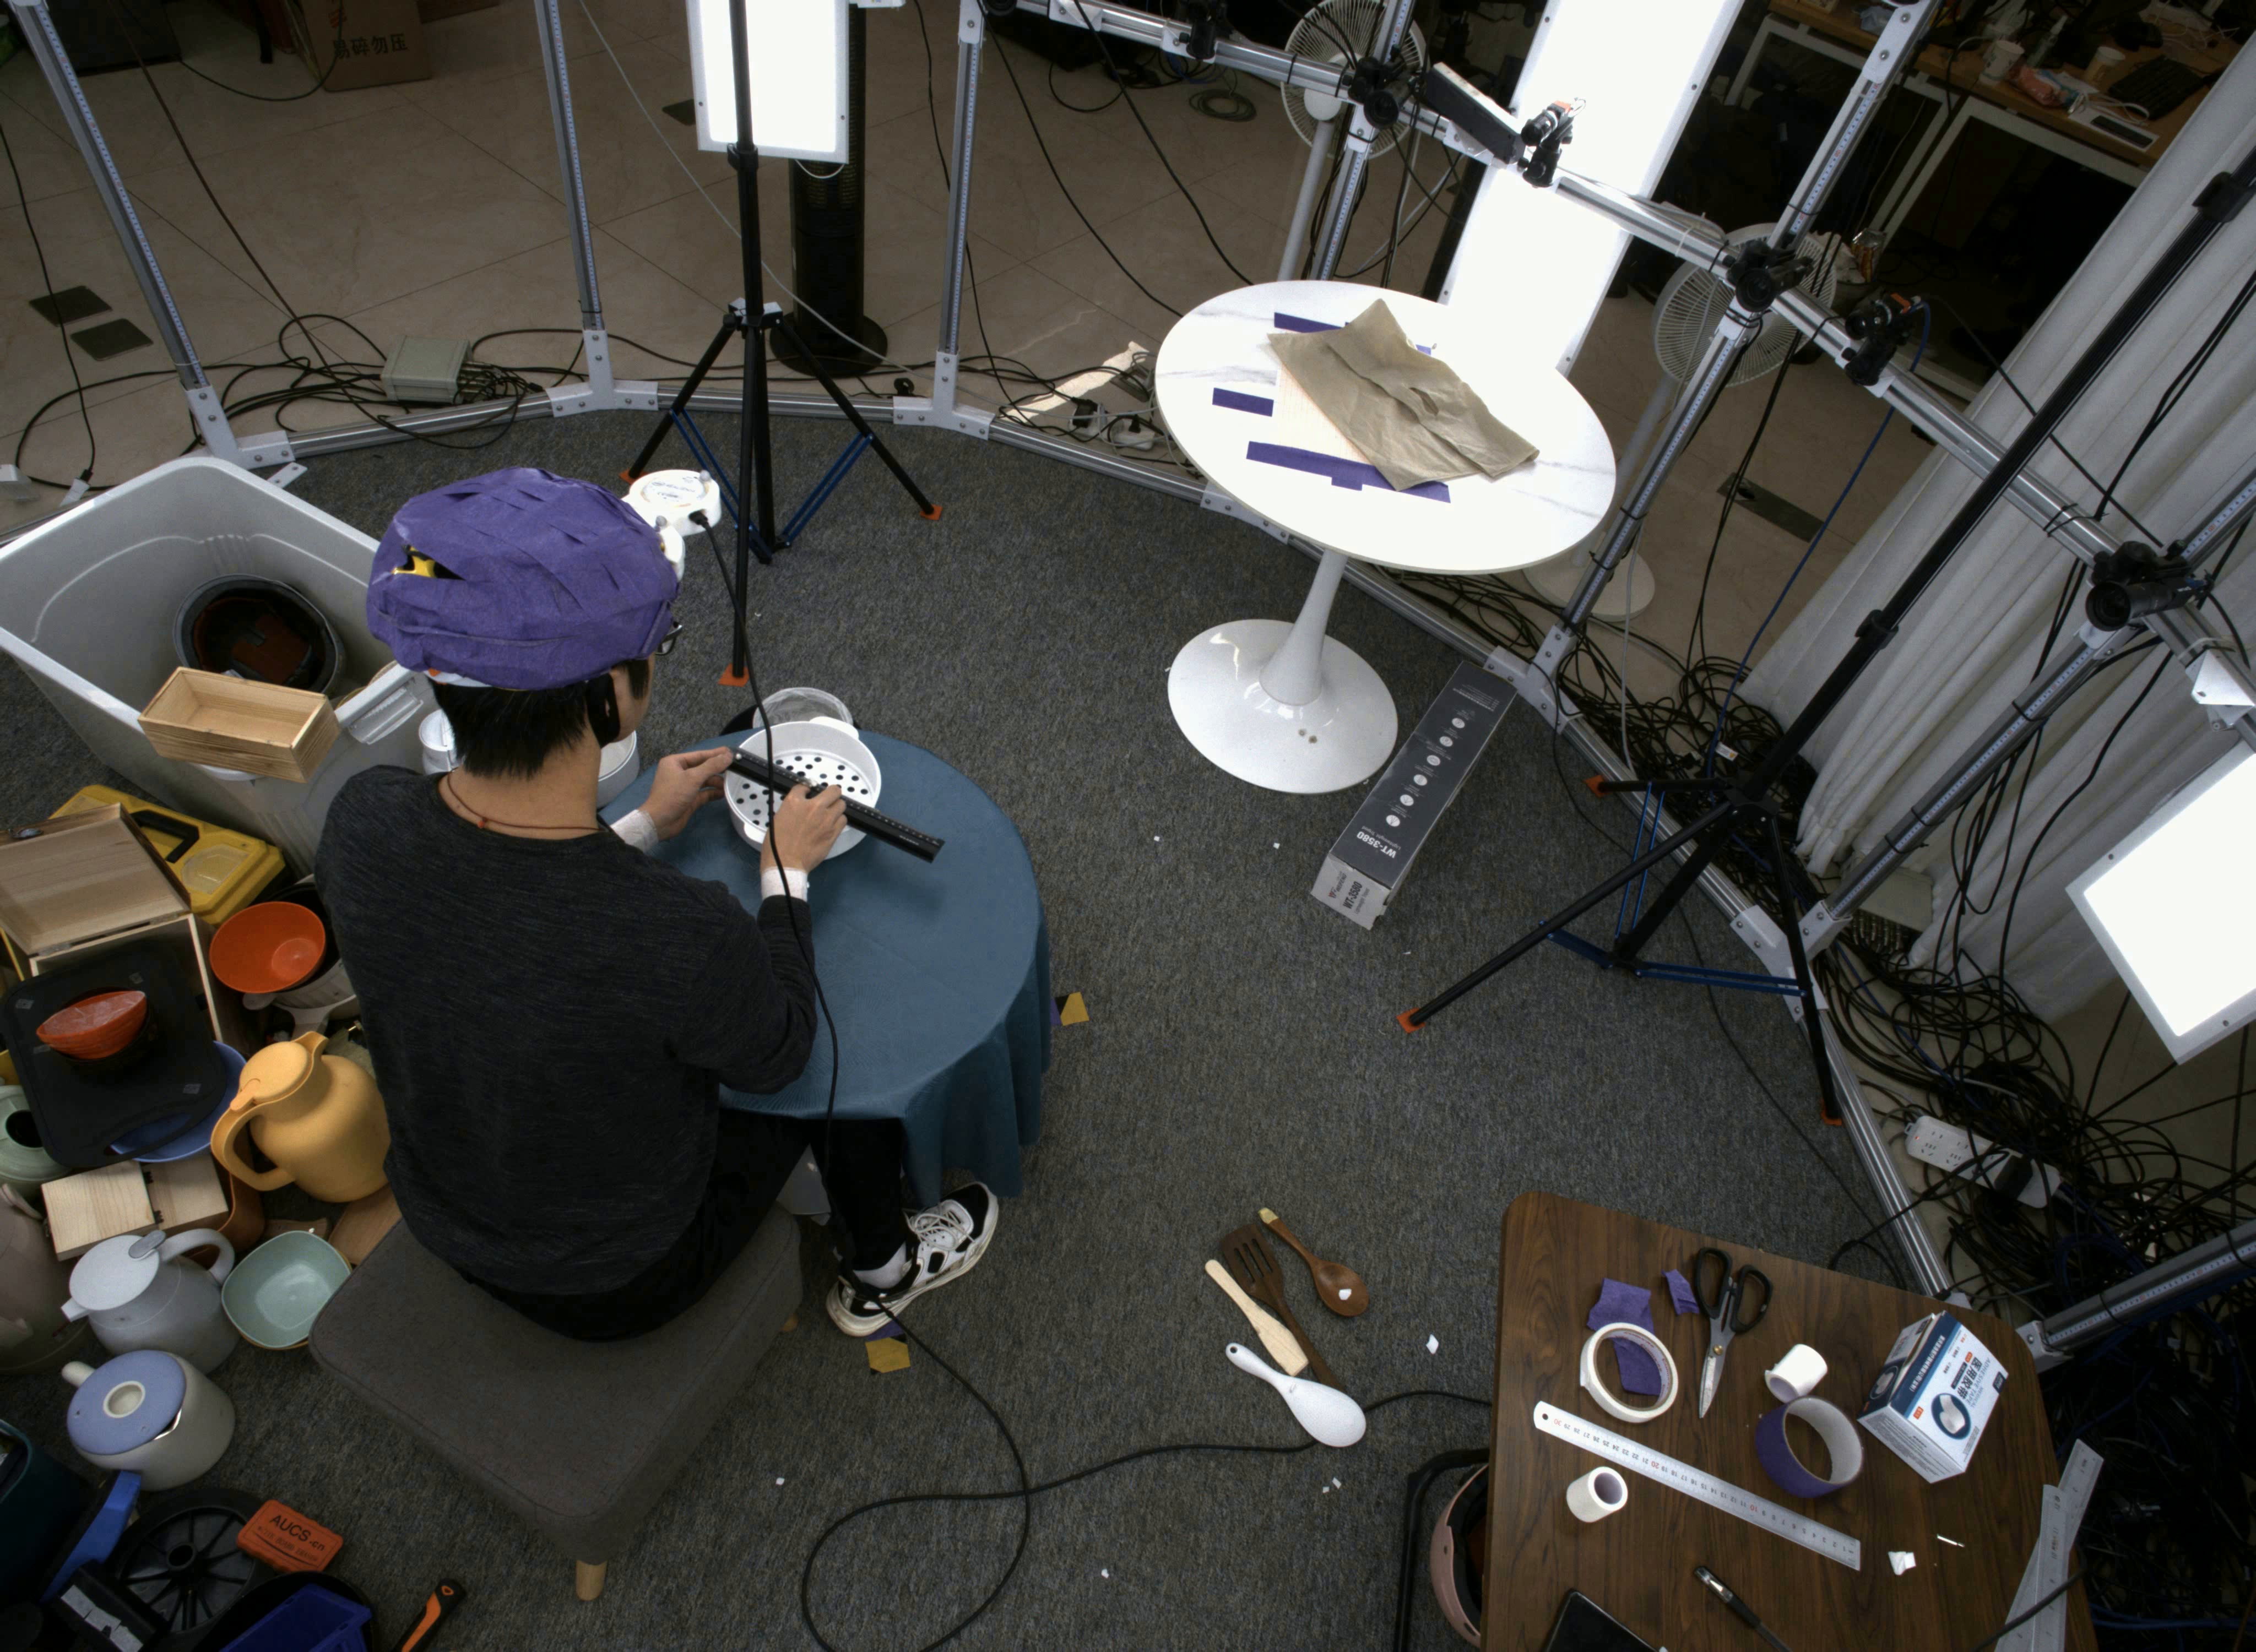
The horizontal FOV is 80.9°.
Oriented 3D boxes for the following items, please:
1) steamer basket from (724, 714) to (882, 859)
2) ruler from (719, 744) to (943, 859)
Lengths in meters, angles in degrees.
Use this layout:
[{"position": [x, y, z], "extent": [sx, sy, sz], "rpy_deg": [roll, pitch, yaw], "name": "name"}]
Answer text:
[{"position": [-0.427, -0.049, 1.710], "extent": [0.200, 0.071, 0.228], "rpy_deg": [19, 49, 1], "name": "steamer basket"}, {"position": [-0.380, -0.037, 1.659], "extent": [0.308, 0.017, 0.039], "rpy_deg": [24, 53, 4], "name": "ruler"}]
